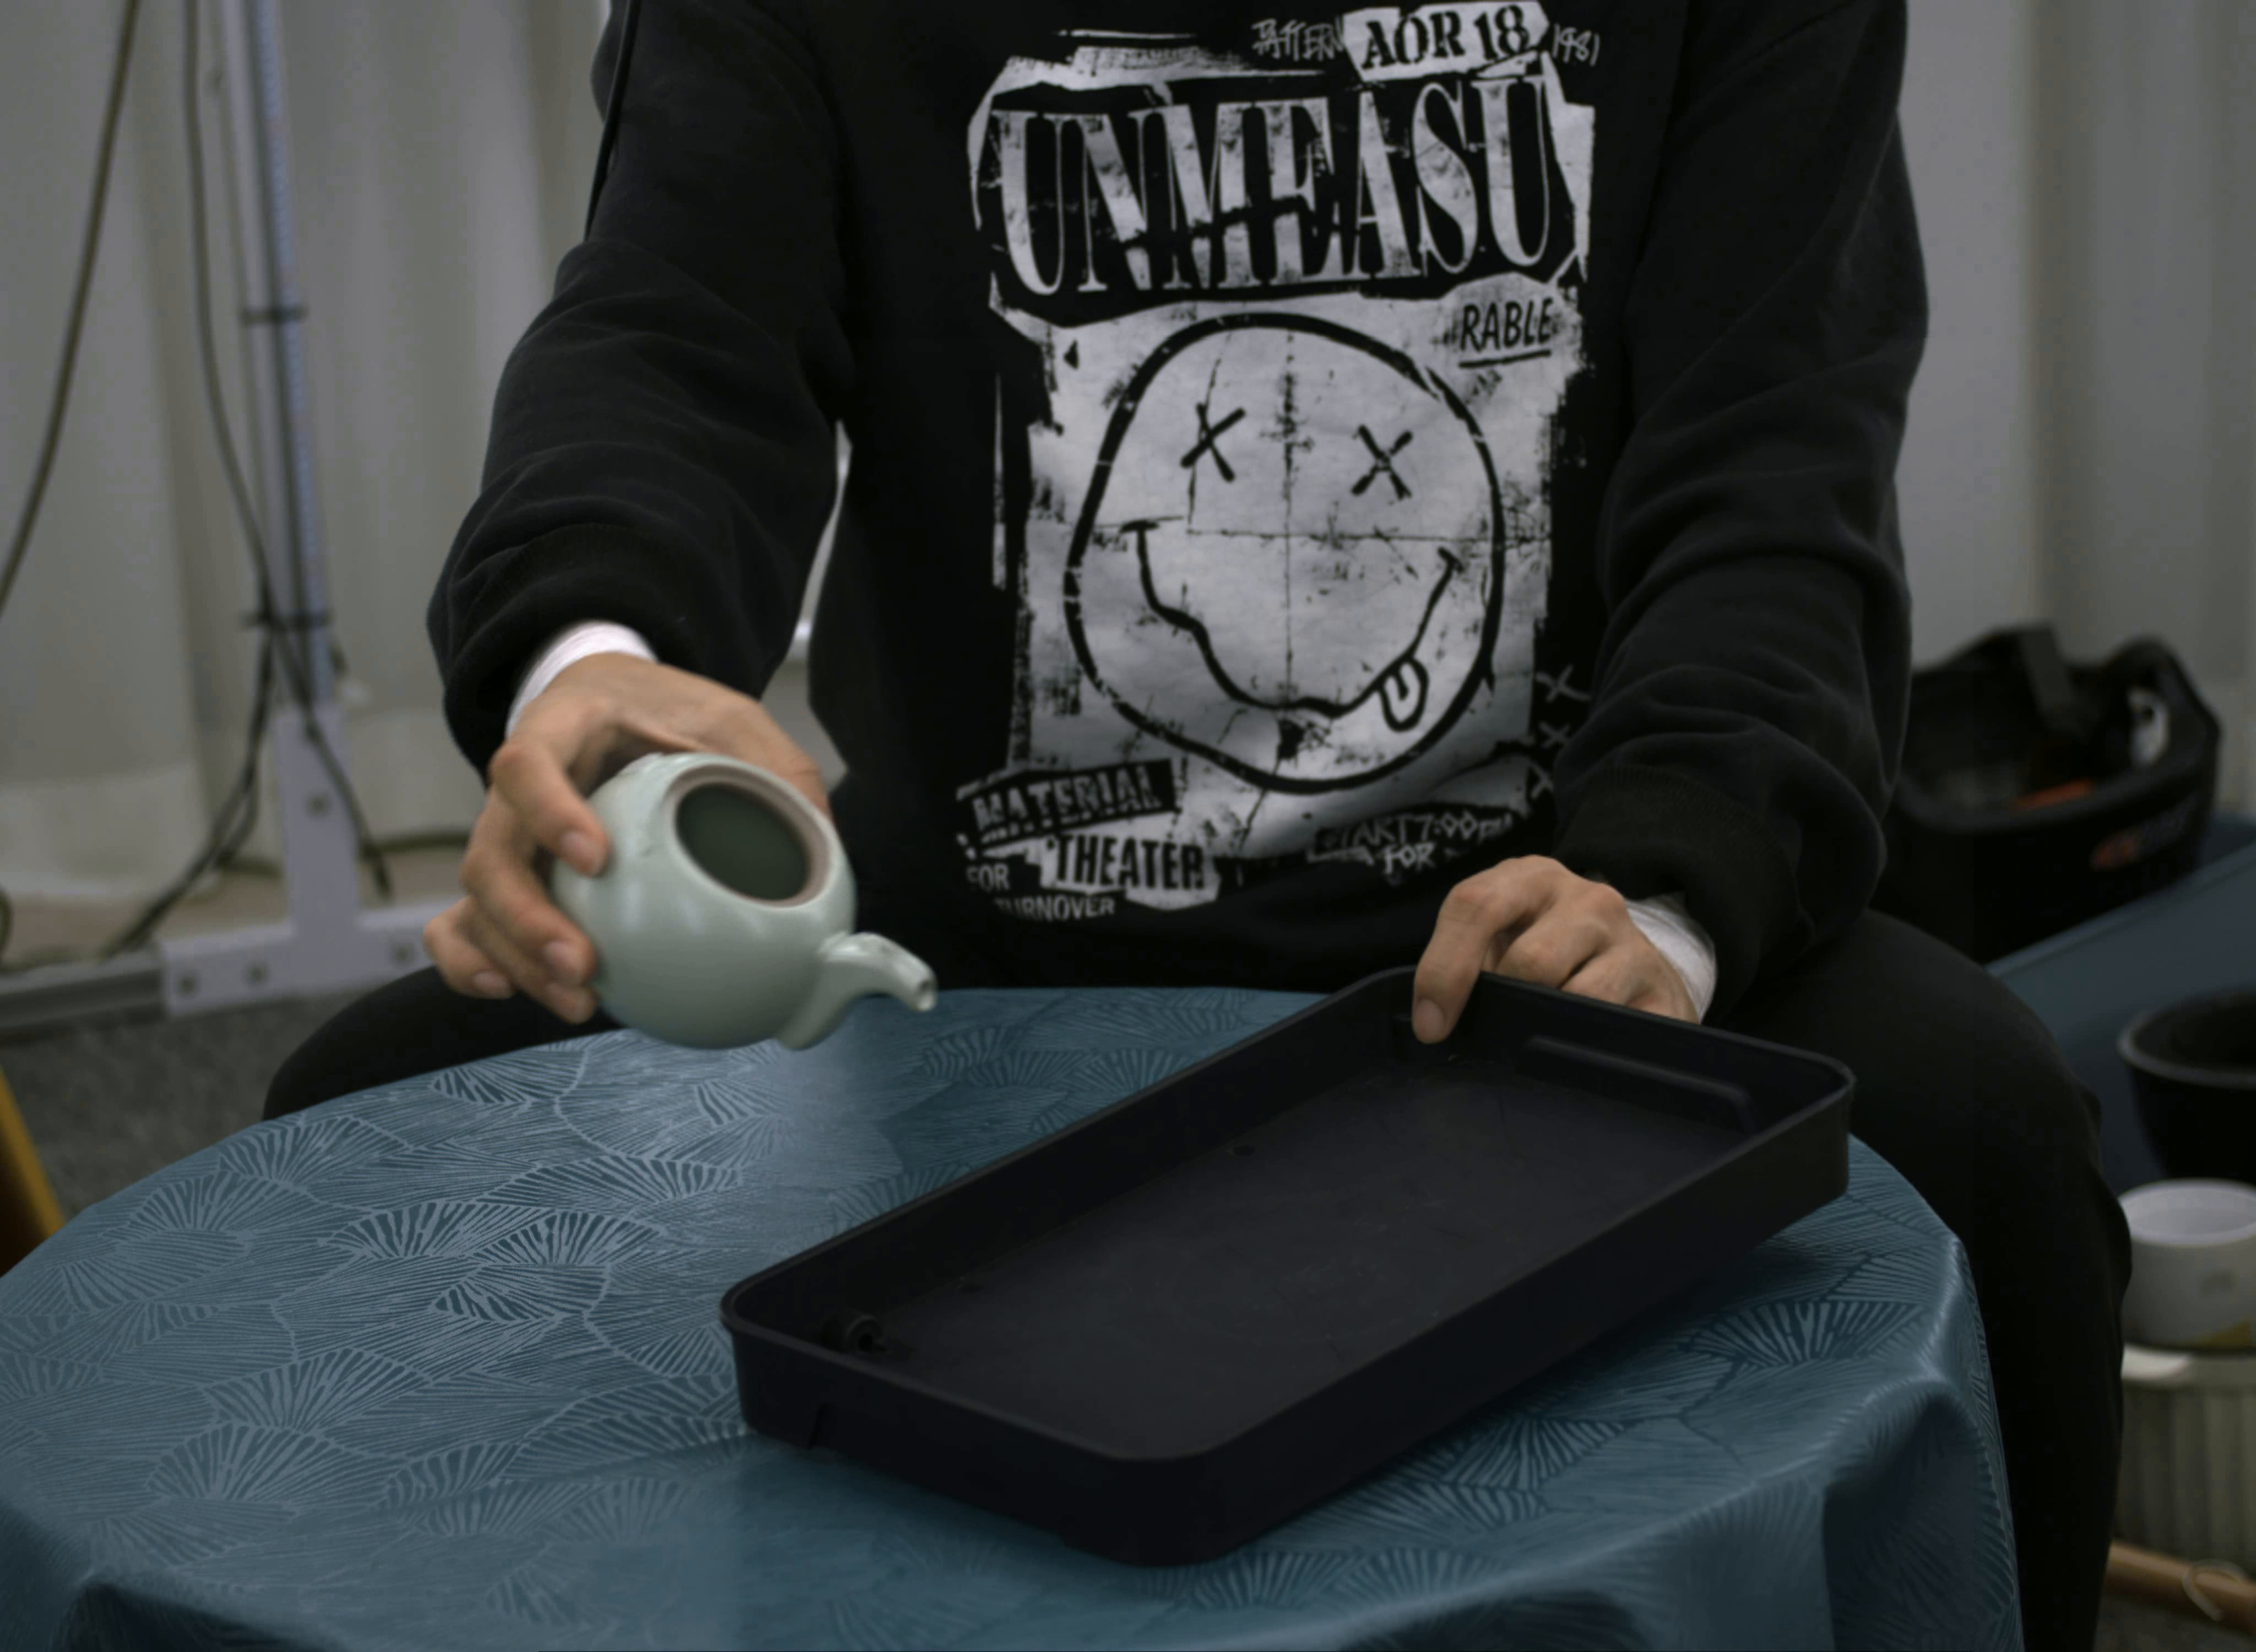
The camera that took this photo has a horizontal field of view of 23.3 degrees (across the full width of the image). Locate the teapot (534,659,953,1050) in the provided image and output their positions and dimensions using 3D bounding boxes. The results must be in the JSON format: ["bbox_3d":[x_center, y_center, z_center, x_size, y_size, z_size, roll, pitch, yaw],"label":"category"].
[{"bbox_3d":[-0.118,0.021,1.568,0.144,0.074,0.088,43,36,10],"label":"teapot"}]

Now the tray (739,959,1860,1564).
[{"bbox_3d":[0.055,0.117,1.571,0.185,0.037,0.318,12,25,40],"label":"tray"}]
